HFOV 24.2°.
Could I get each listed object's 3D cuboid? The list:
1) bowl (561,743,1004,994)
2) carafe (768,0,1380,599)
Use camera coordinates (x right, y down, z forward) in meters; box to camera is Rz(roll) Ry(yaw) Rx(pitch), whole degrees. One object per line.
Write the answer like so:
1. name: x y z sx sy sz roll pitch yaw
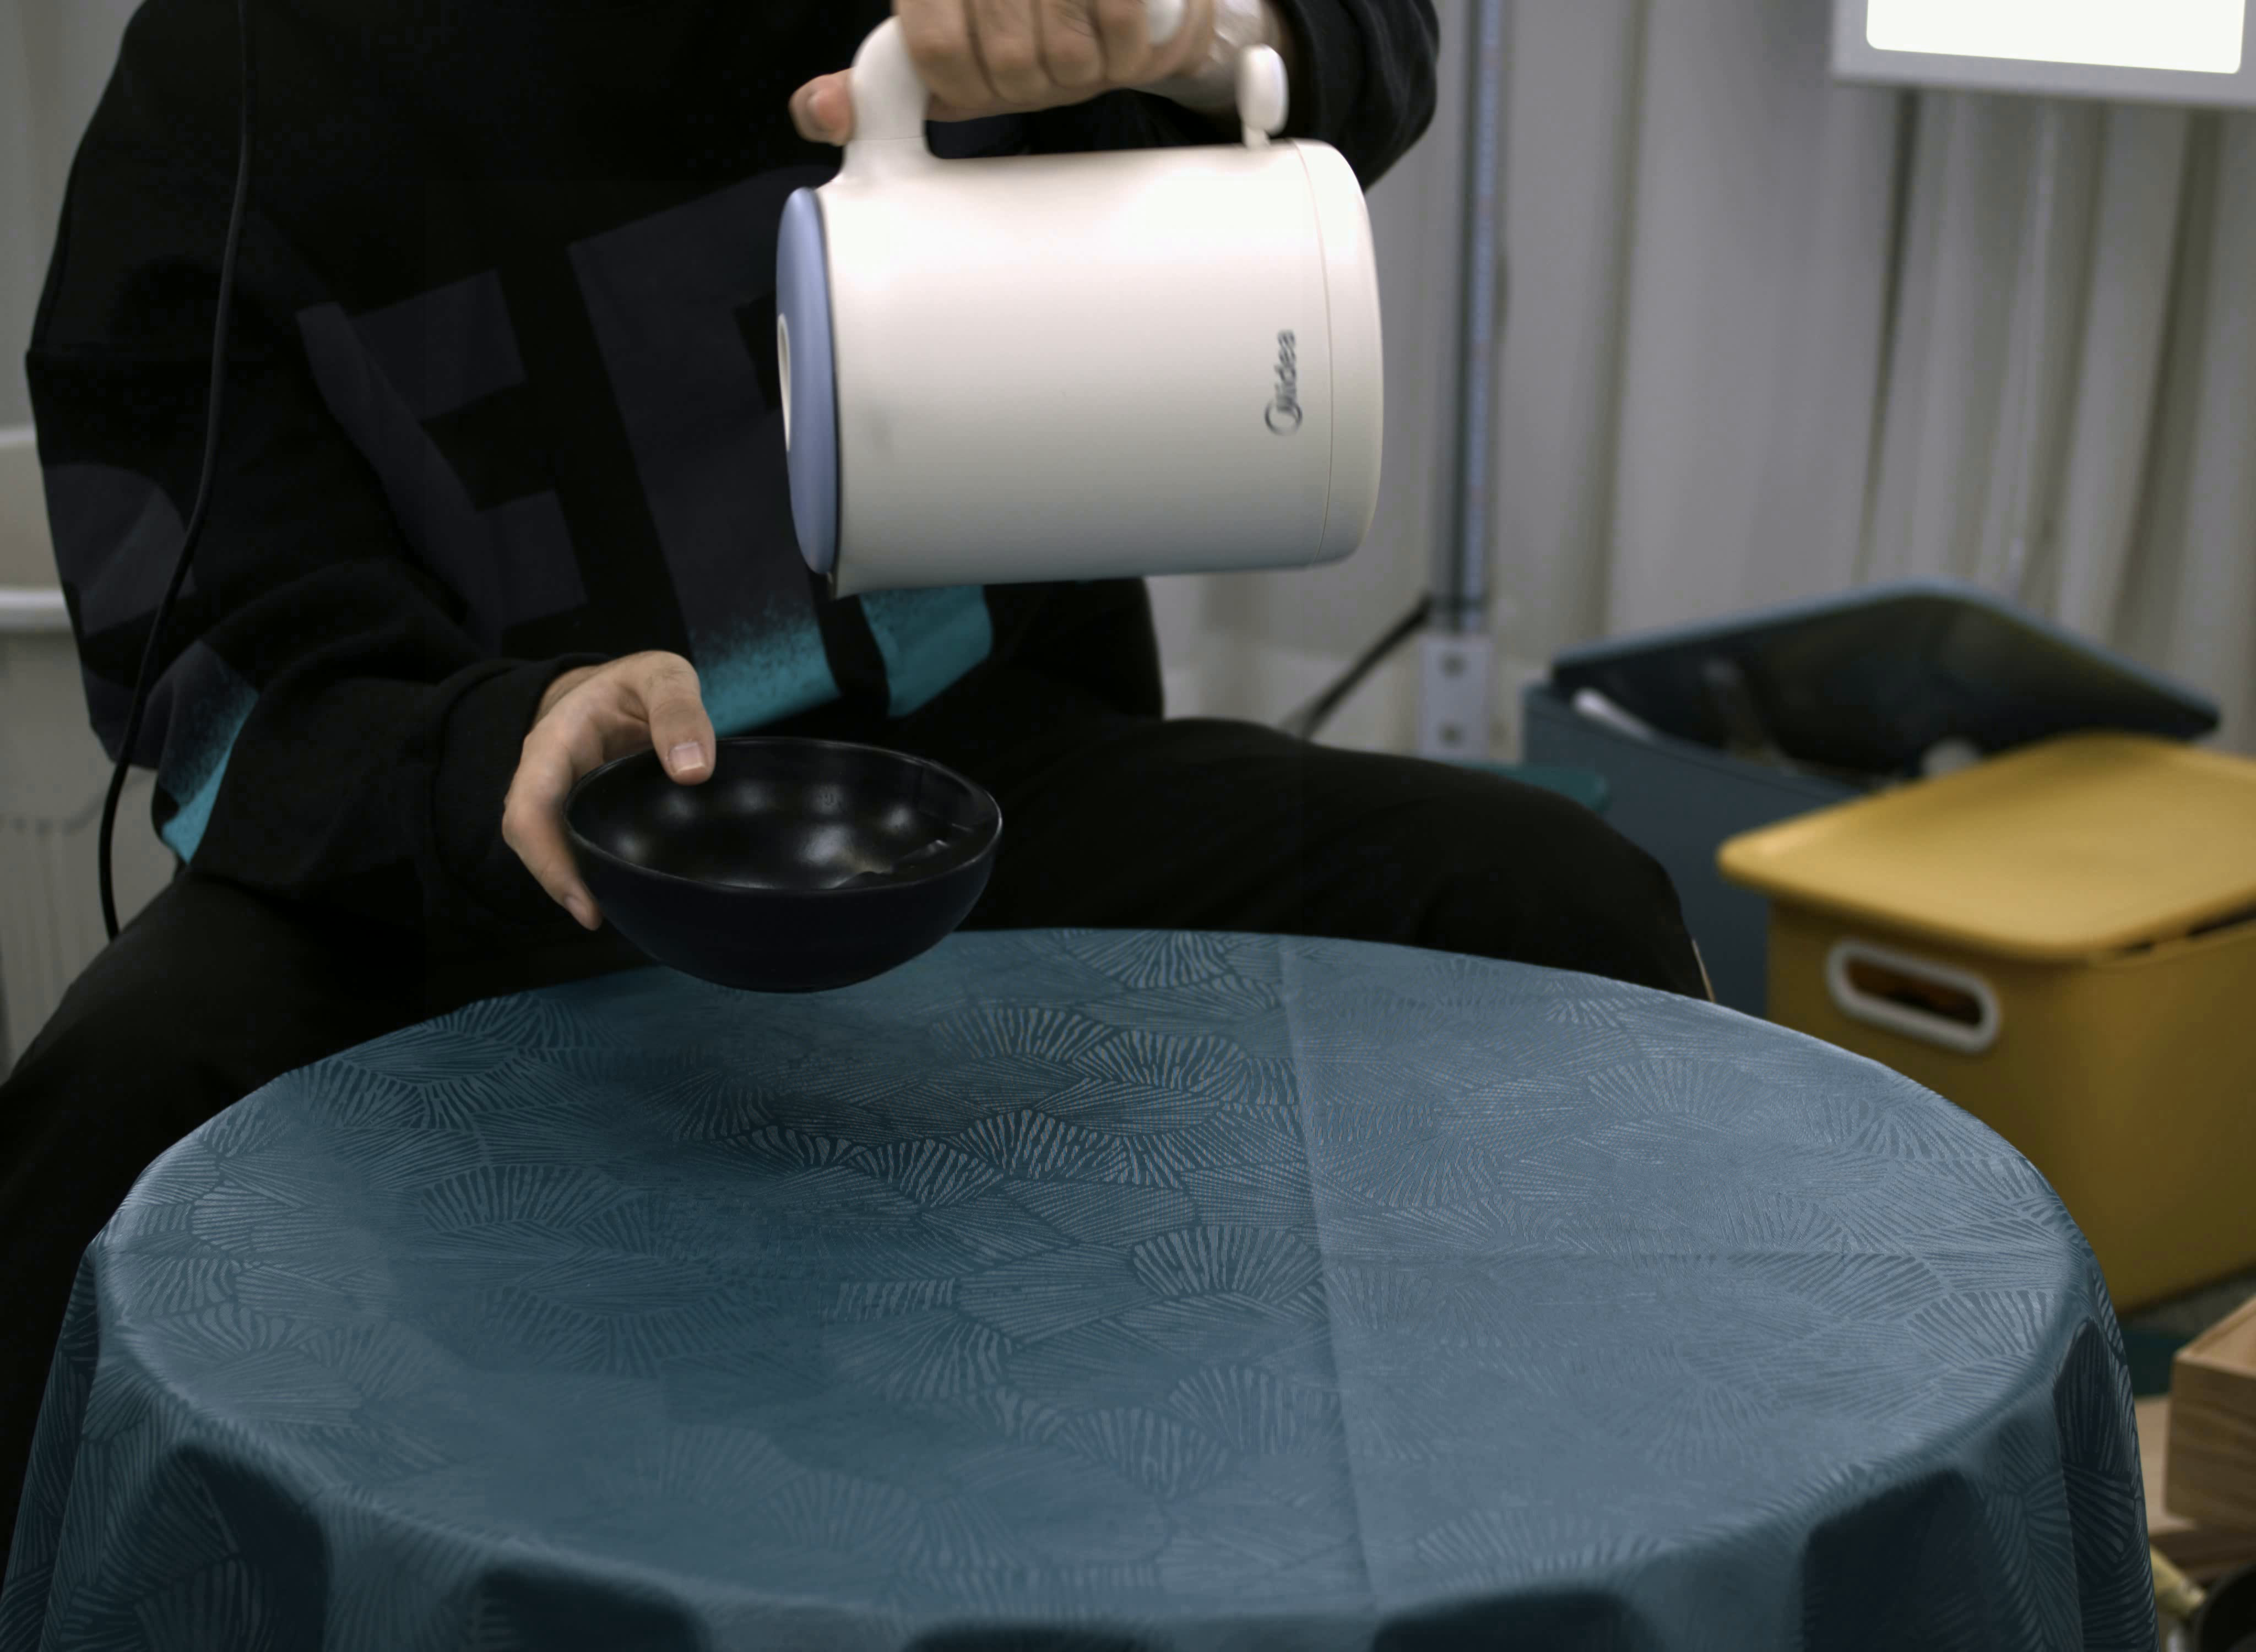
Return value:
1. bowl: -0.109 0.018 1.655 0.139 0.050 0.139 3 18 -1
2. carafe: -0.018 -0.168 1.604 0.182 0.192 0.131 -3 11 -9
